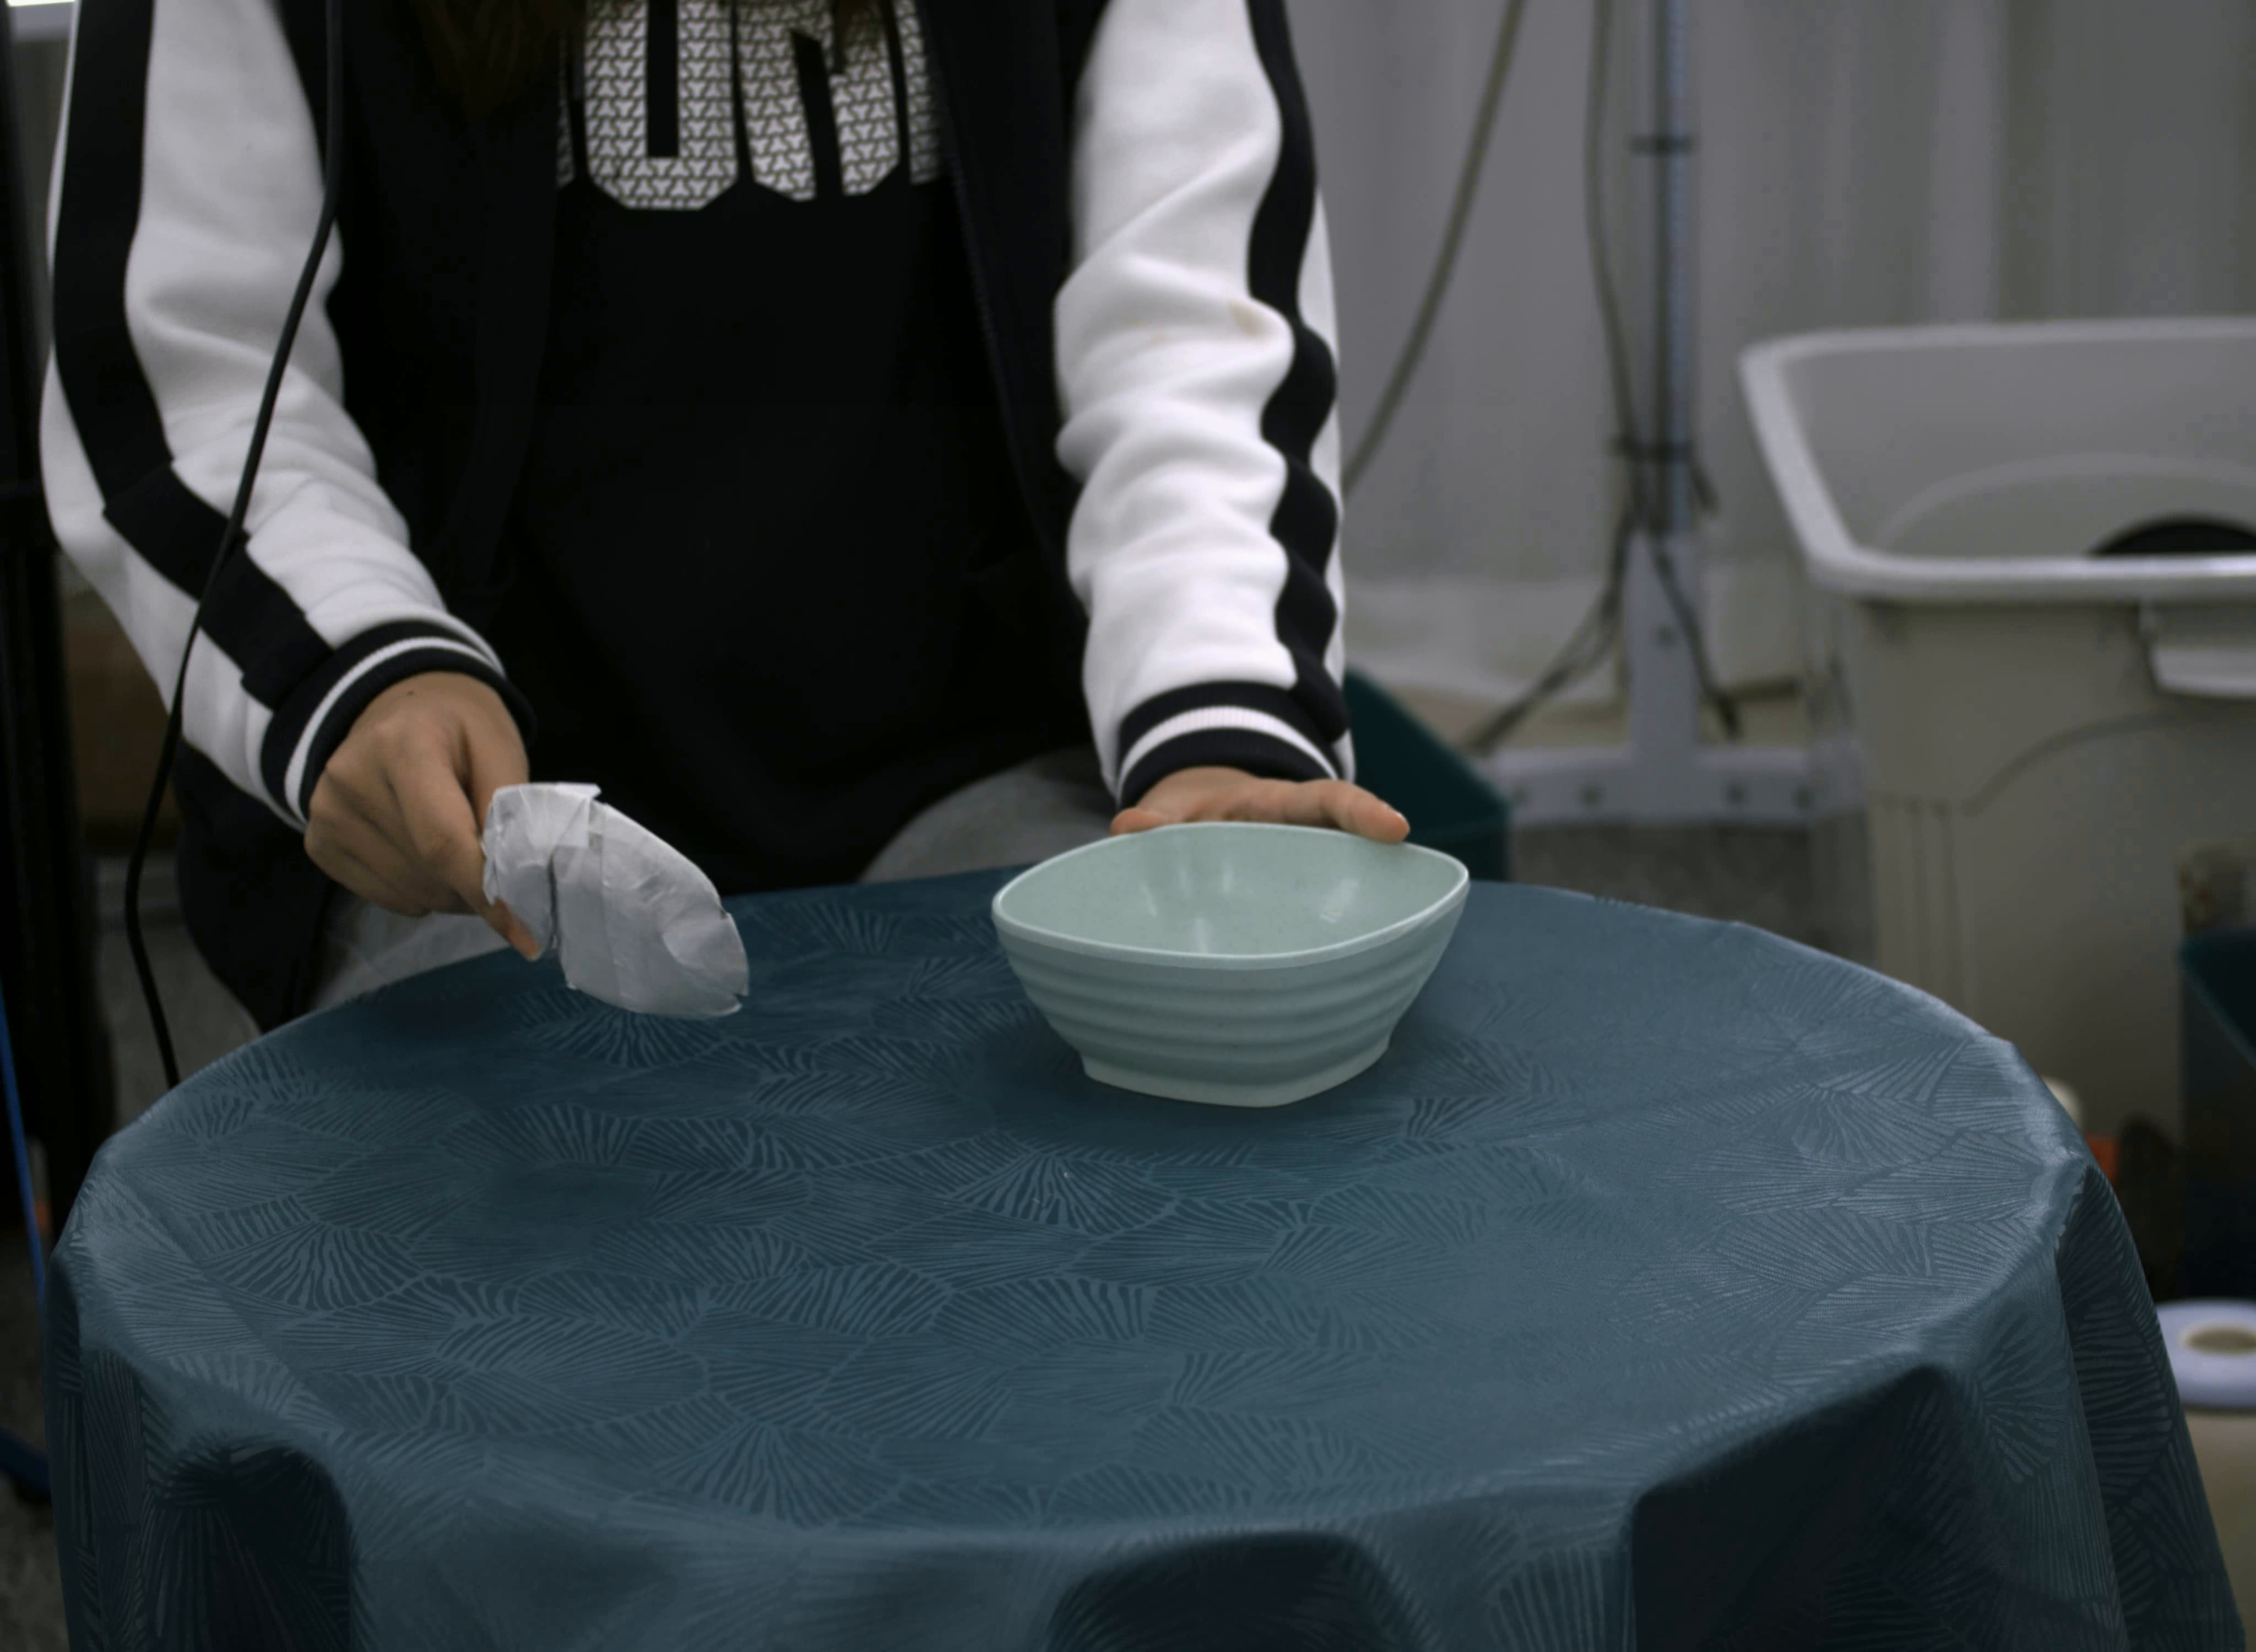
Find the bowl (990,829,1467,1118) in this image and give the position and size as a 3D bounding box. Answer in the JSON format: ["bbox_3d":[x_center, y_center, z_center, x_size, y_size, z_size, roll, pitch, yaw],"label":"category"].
[{"bbox_3d":[0.033,0.049,1.665,0.150,0.058,0.152,-3,16,-1],"label":"bowl"}]

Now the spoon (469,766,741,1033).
[{"bbox_3d":[-0.167,0.008,1.663,0.059,0.100,0.280,-35,13,-3],"label":"spoon"}]
